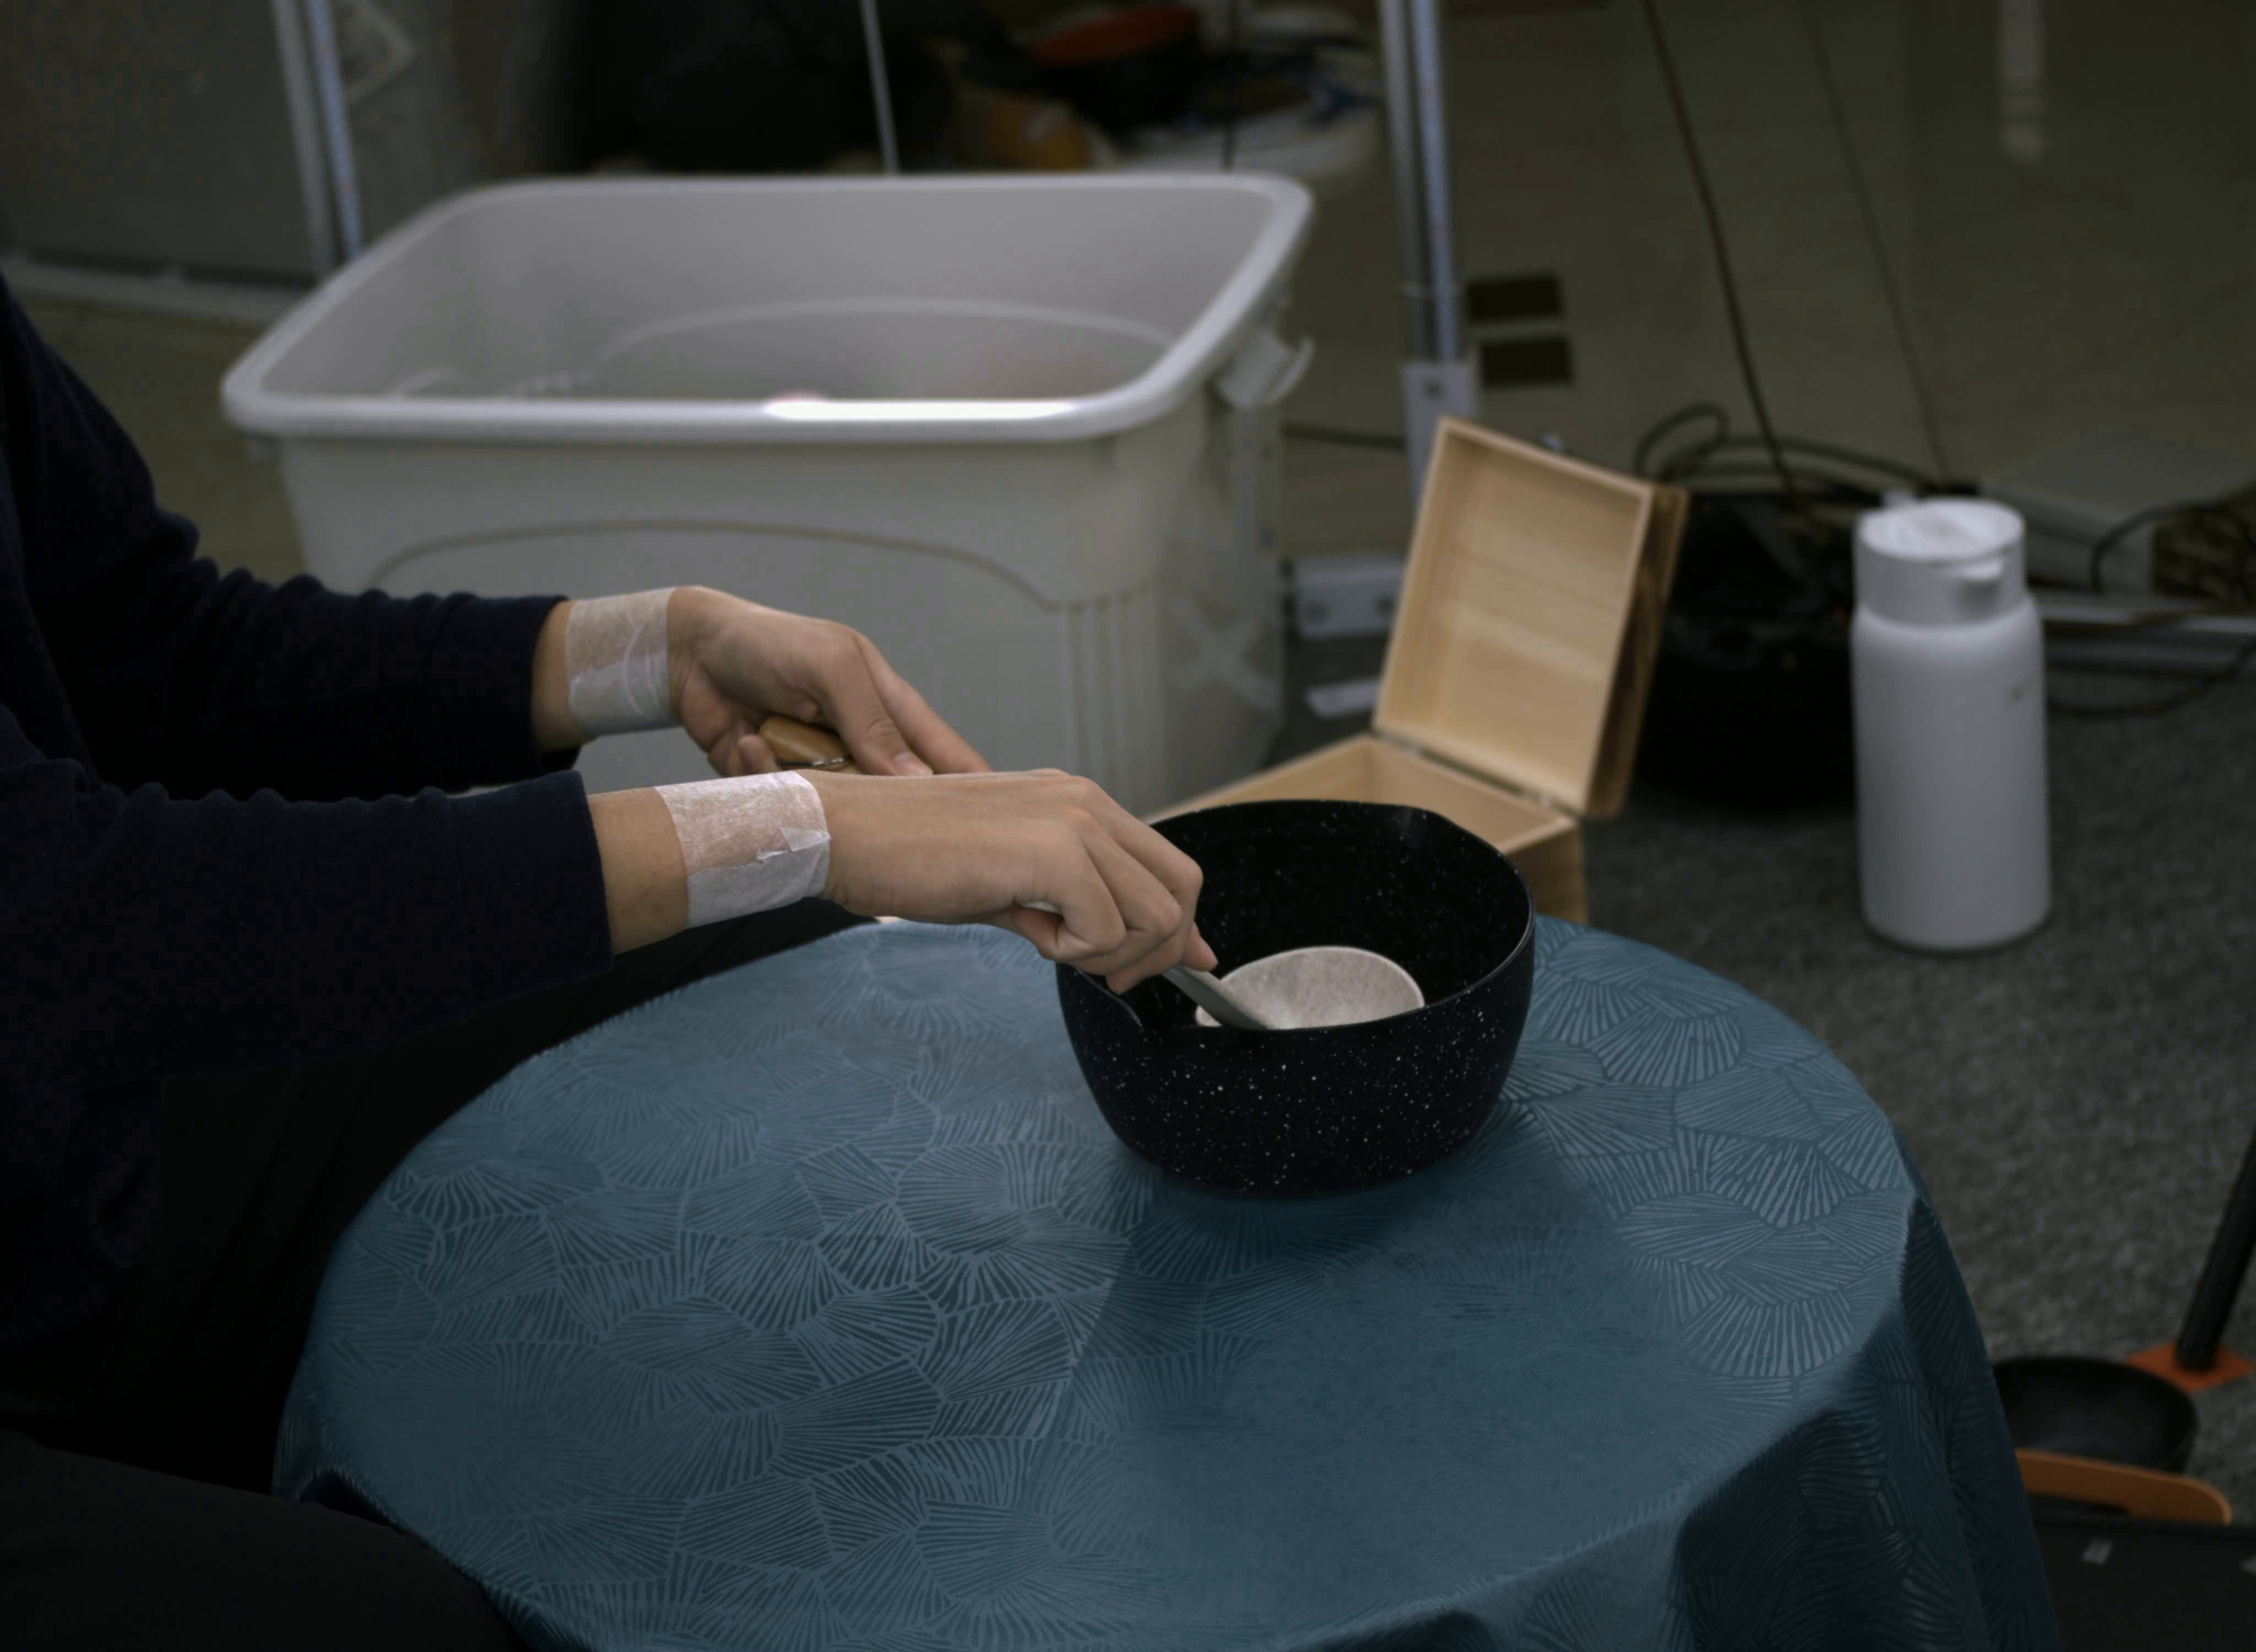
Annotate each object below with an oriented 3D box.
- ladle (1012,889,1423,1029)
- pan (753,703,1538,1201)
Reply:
[{"bbox_3d":[0.027,0.037,2.050,0.089,0.069,0.277,13,-12,27],"label":"ladle"},{"bbox_3d":[-0.003,0.041,2.201,0.341,0.110,0.205,16,34,28],"label":"pan"}]
